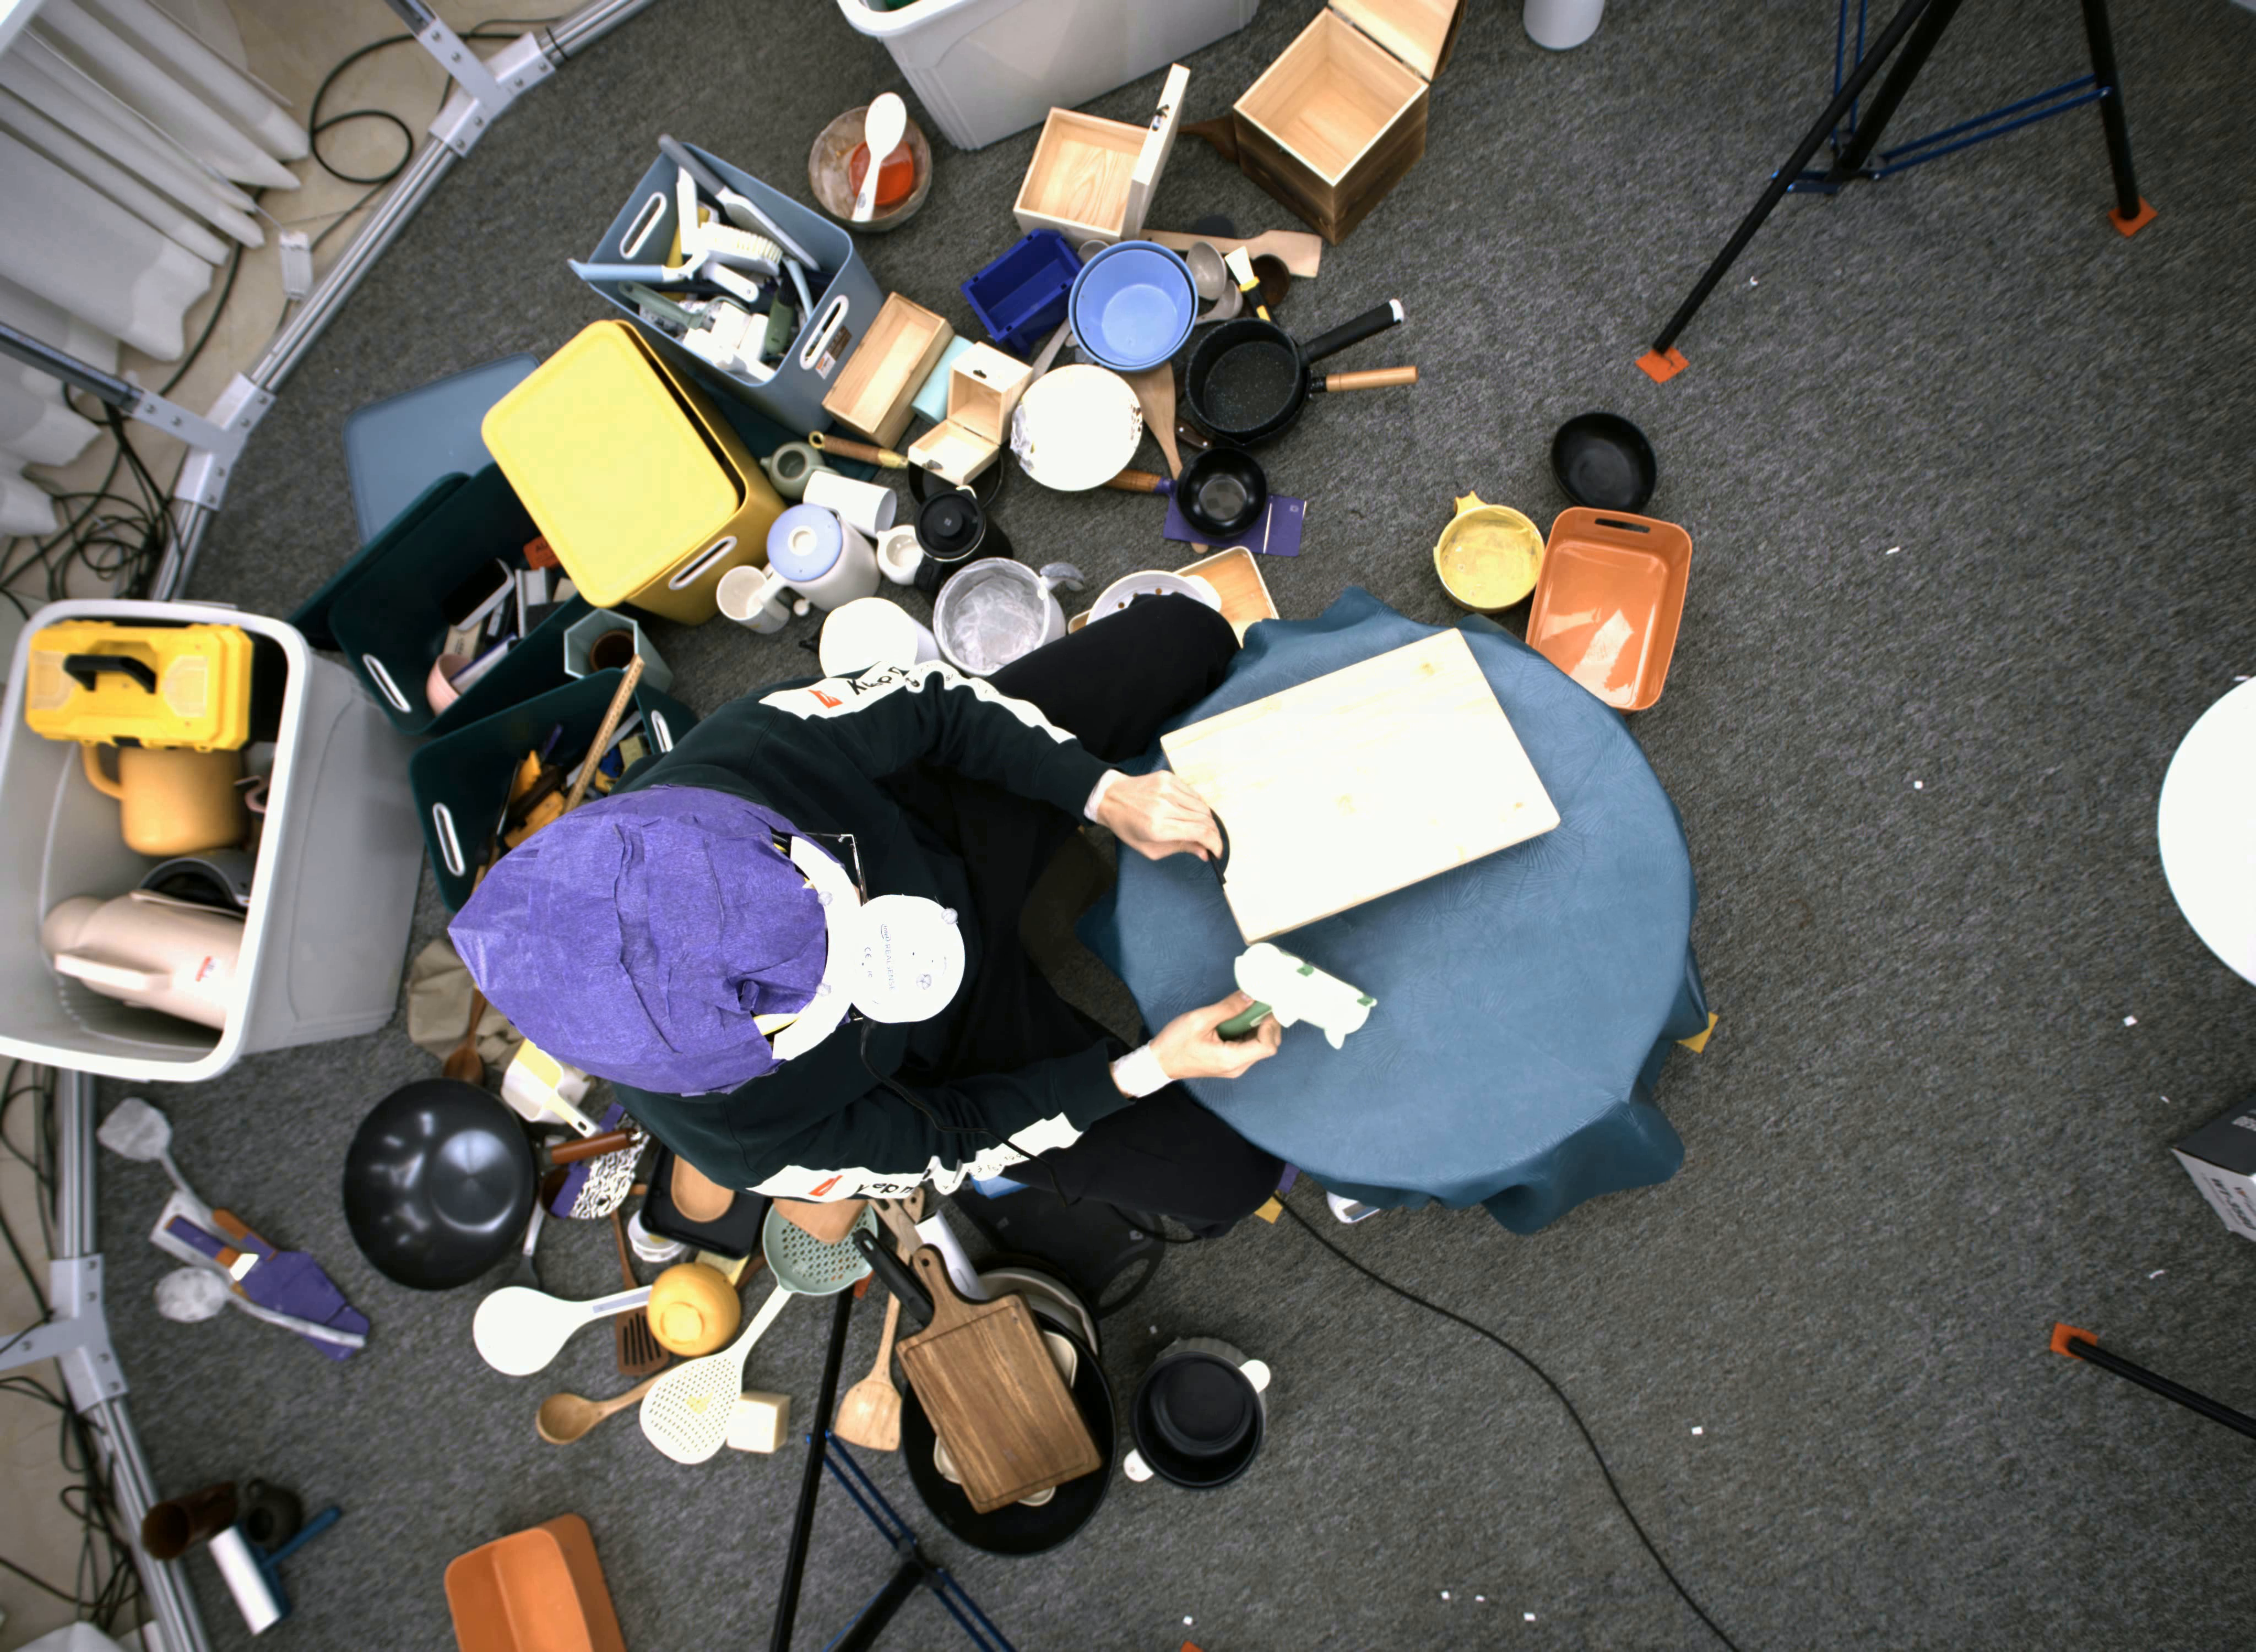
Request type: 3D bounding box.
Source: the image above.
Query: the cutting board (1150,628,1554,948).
[{"bbox_3d":[0.227,-0.045,1.404,0.348,0.024,0.247,-22,71,-3],"label":"cutting board"}]

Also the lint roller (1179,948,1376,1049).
[{"bbox_3d":[0.135,0.198,1.385,0.186,0.199,0.080,-34,58,21],"label":"lint roller"}]
